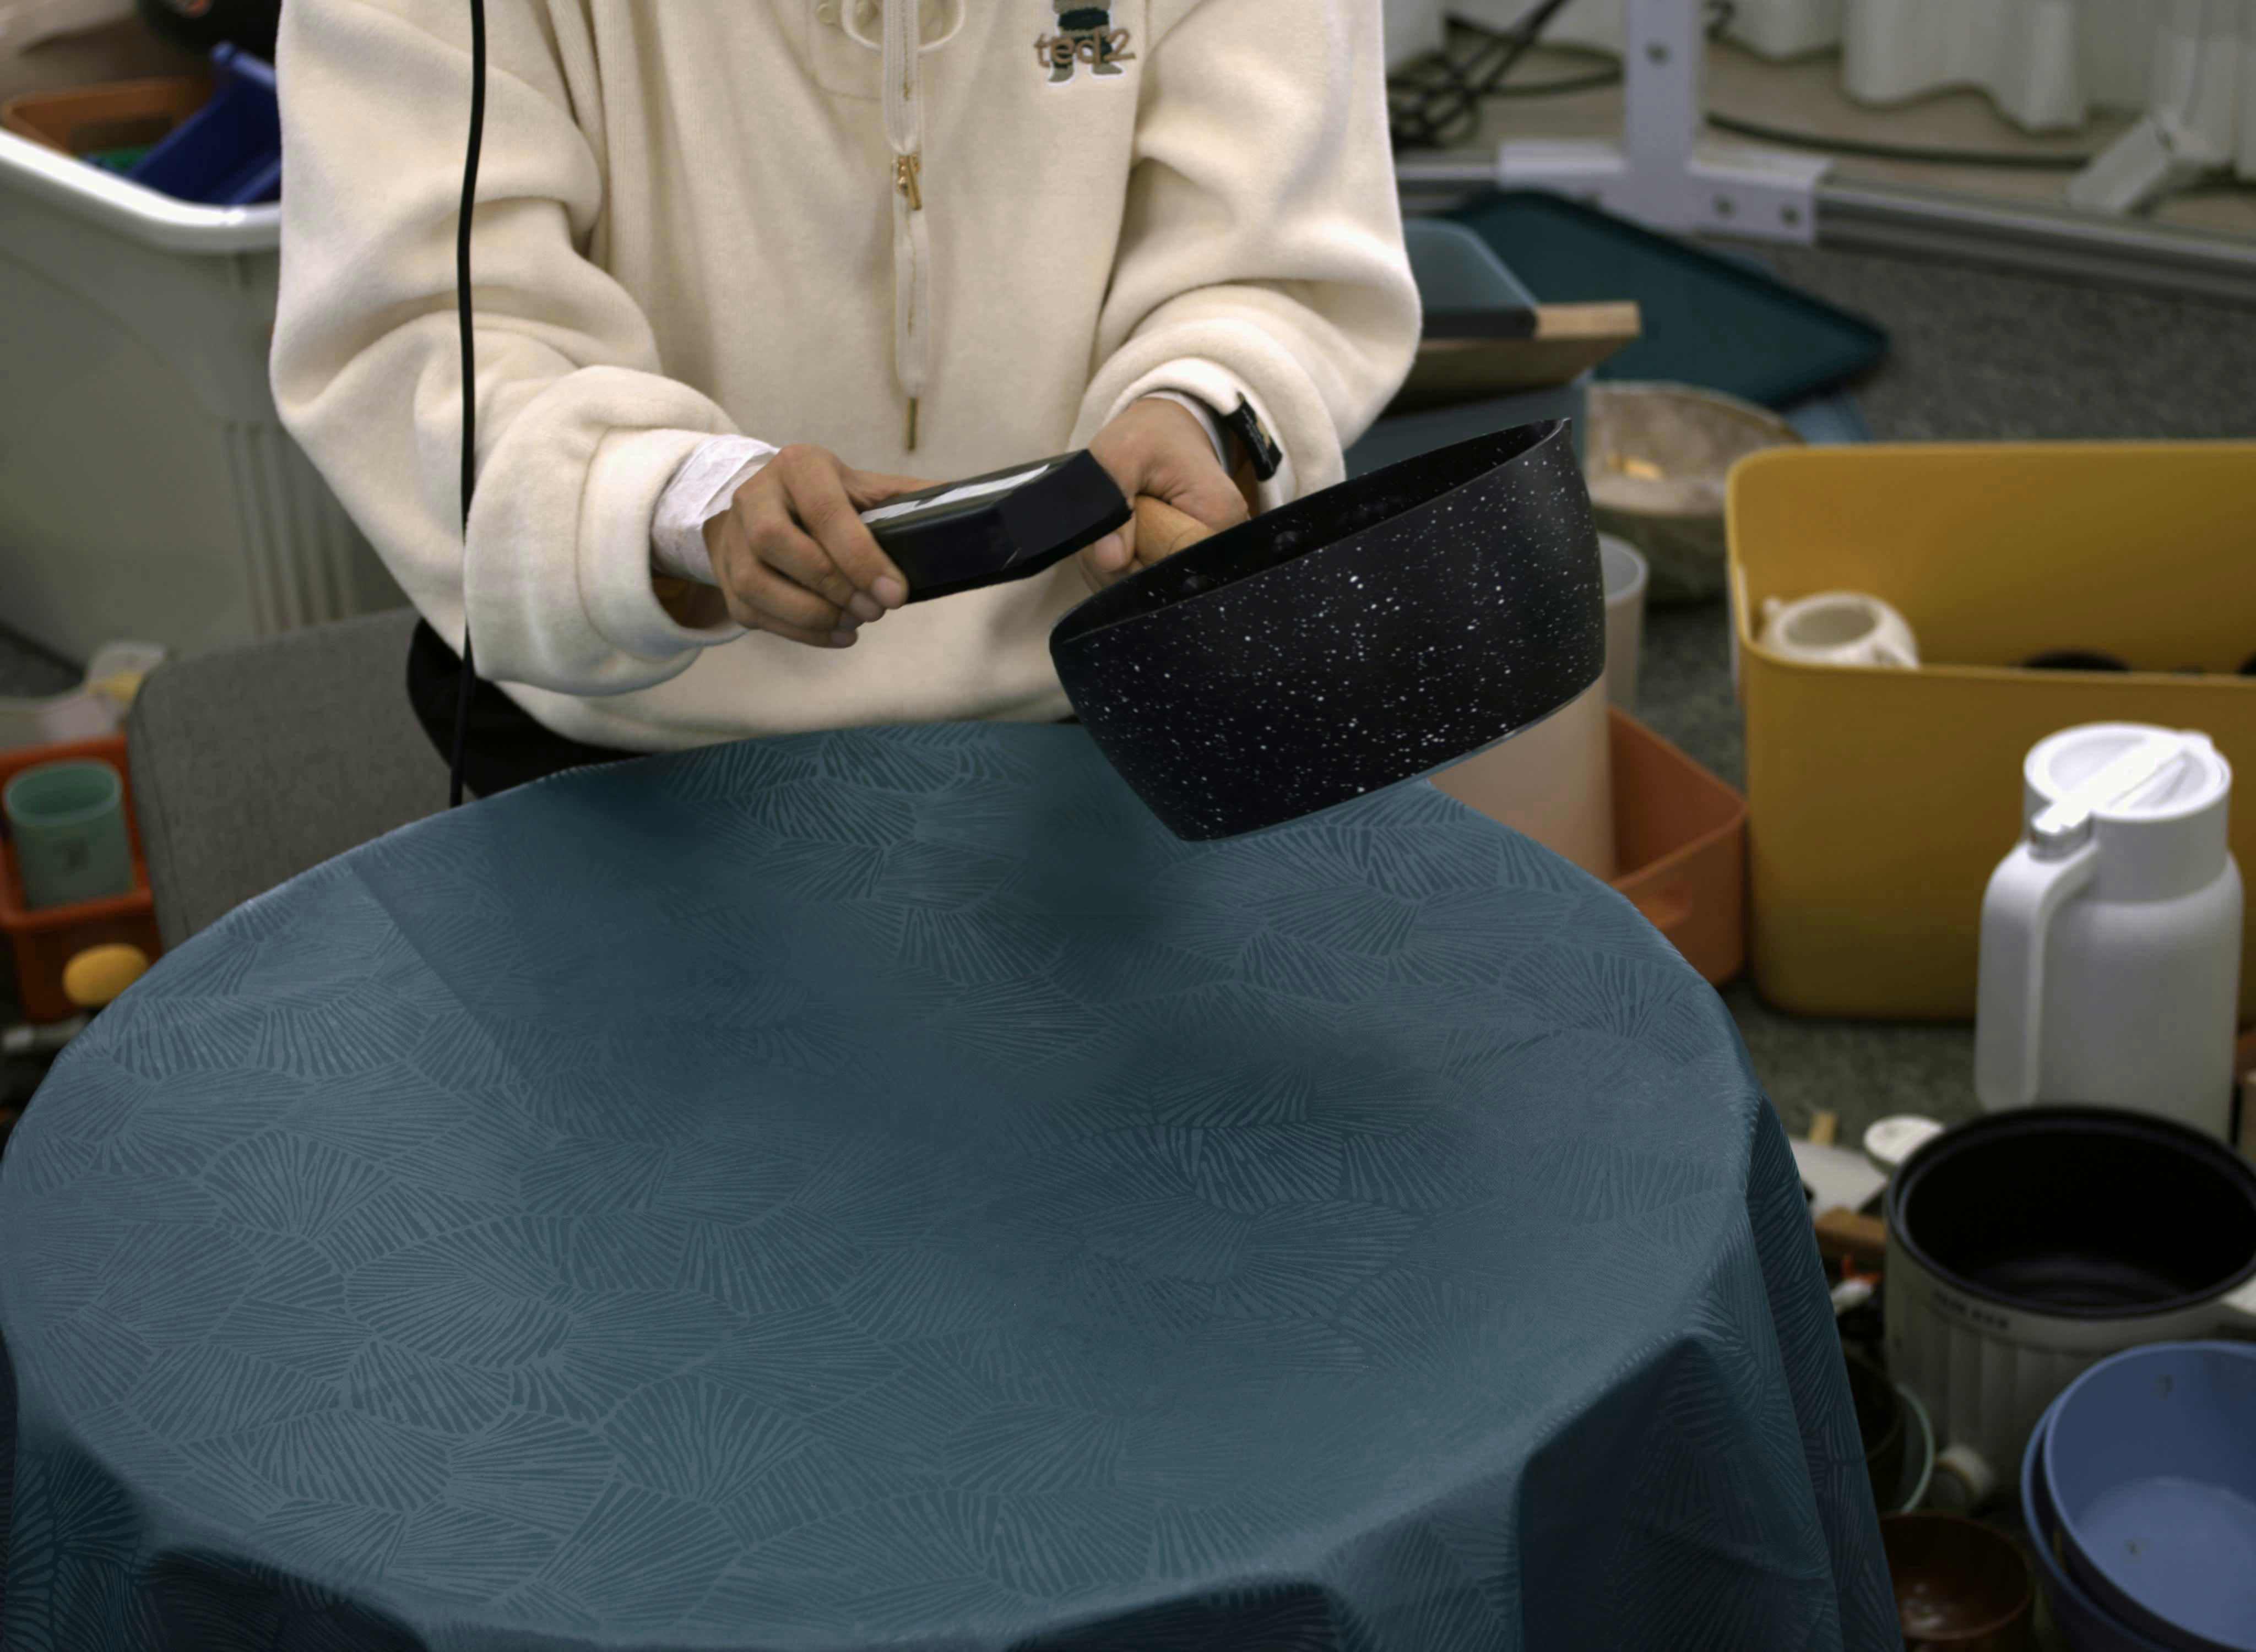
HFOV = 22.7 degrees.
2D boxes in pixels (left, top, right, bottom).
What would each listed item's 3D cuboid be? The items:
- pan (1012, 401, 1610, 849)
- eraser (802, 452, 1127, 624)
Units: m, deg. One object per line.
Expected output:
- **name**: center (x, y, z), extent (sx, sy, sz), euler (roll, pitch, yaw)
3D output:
- **pan**: center (0.047, -0.074, 1.935), extent (0.208, 0.108, 0.341), euler (-25, 9, -14)
- **eraser**: center (-0.056, -0.099, 1.939), extent (0.054, 0.030, 0.124), euler (-31, 12, -36)
